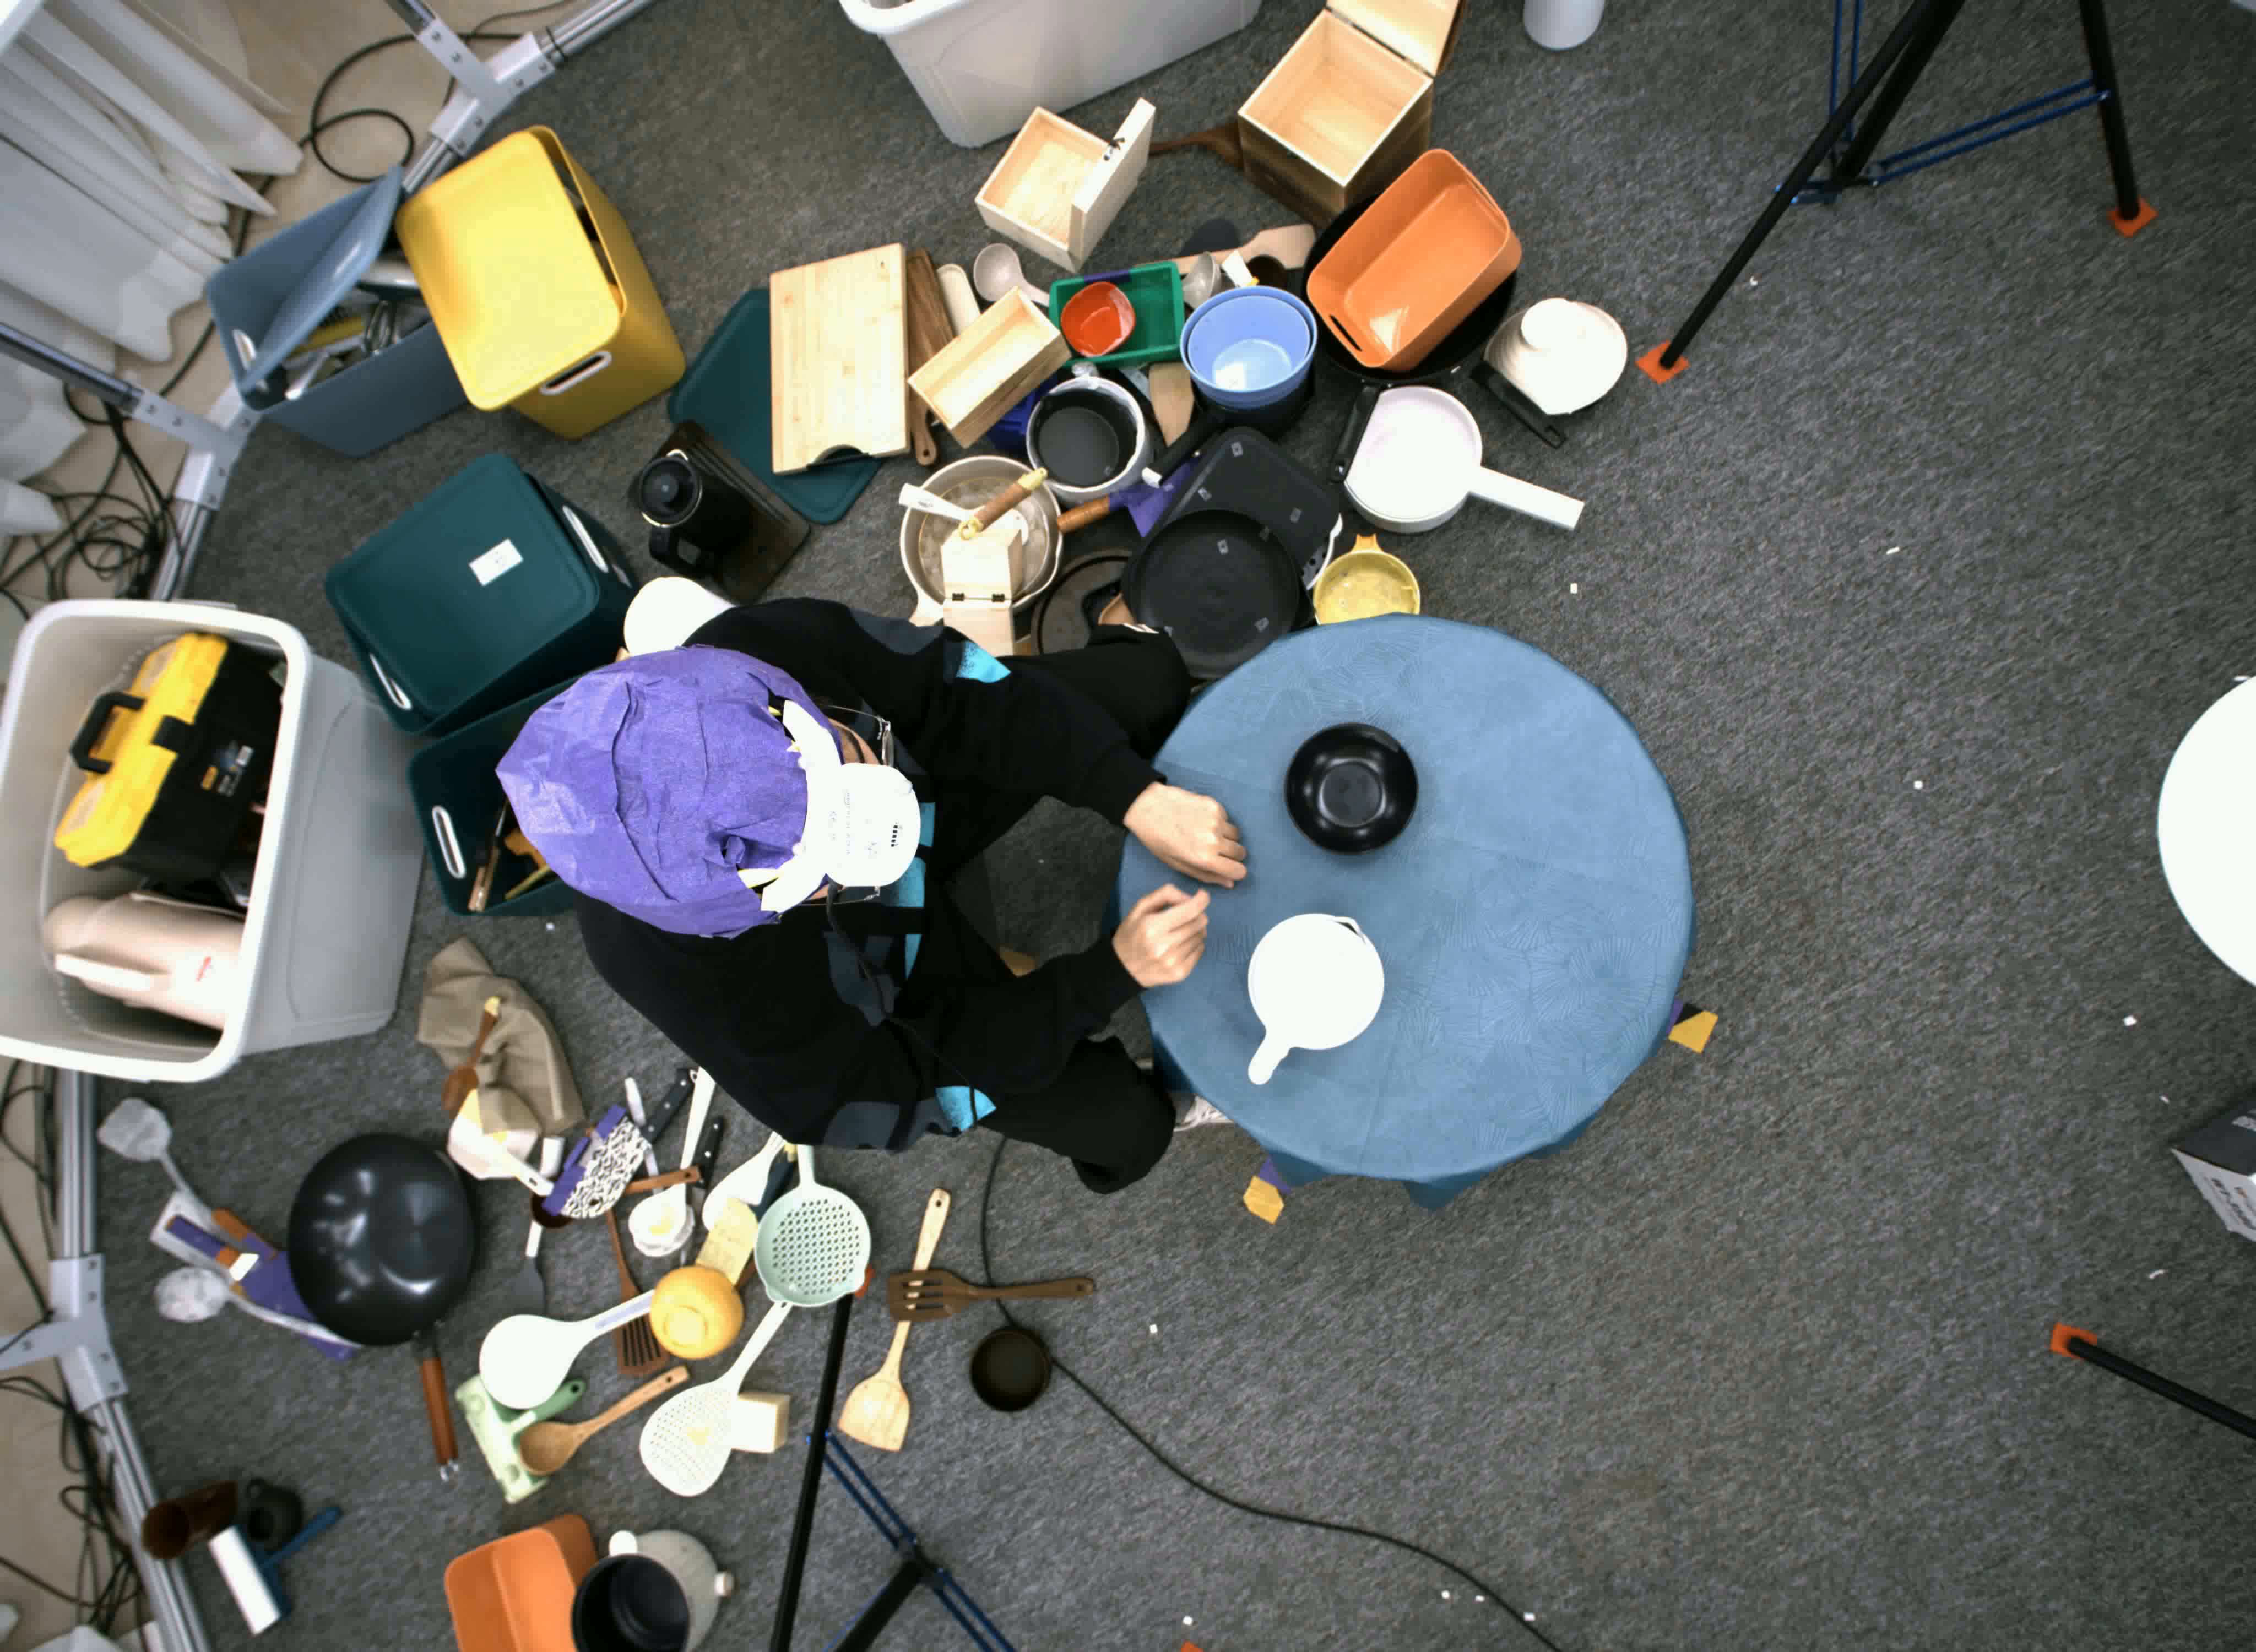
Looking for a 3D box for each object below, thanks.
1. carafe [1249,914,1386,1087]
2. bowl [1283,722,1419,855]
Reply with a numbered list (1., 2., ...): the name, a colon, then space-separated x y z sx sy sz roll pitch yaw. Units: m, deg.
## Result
1. carafe: 0.178 0.175 1.381 0.132 0.182 0.192 30 94 12
2. bowl: 0.234 -0.039 1.443 0.140 0.050 0.139 -1 88 11
